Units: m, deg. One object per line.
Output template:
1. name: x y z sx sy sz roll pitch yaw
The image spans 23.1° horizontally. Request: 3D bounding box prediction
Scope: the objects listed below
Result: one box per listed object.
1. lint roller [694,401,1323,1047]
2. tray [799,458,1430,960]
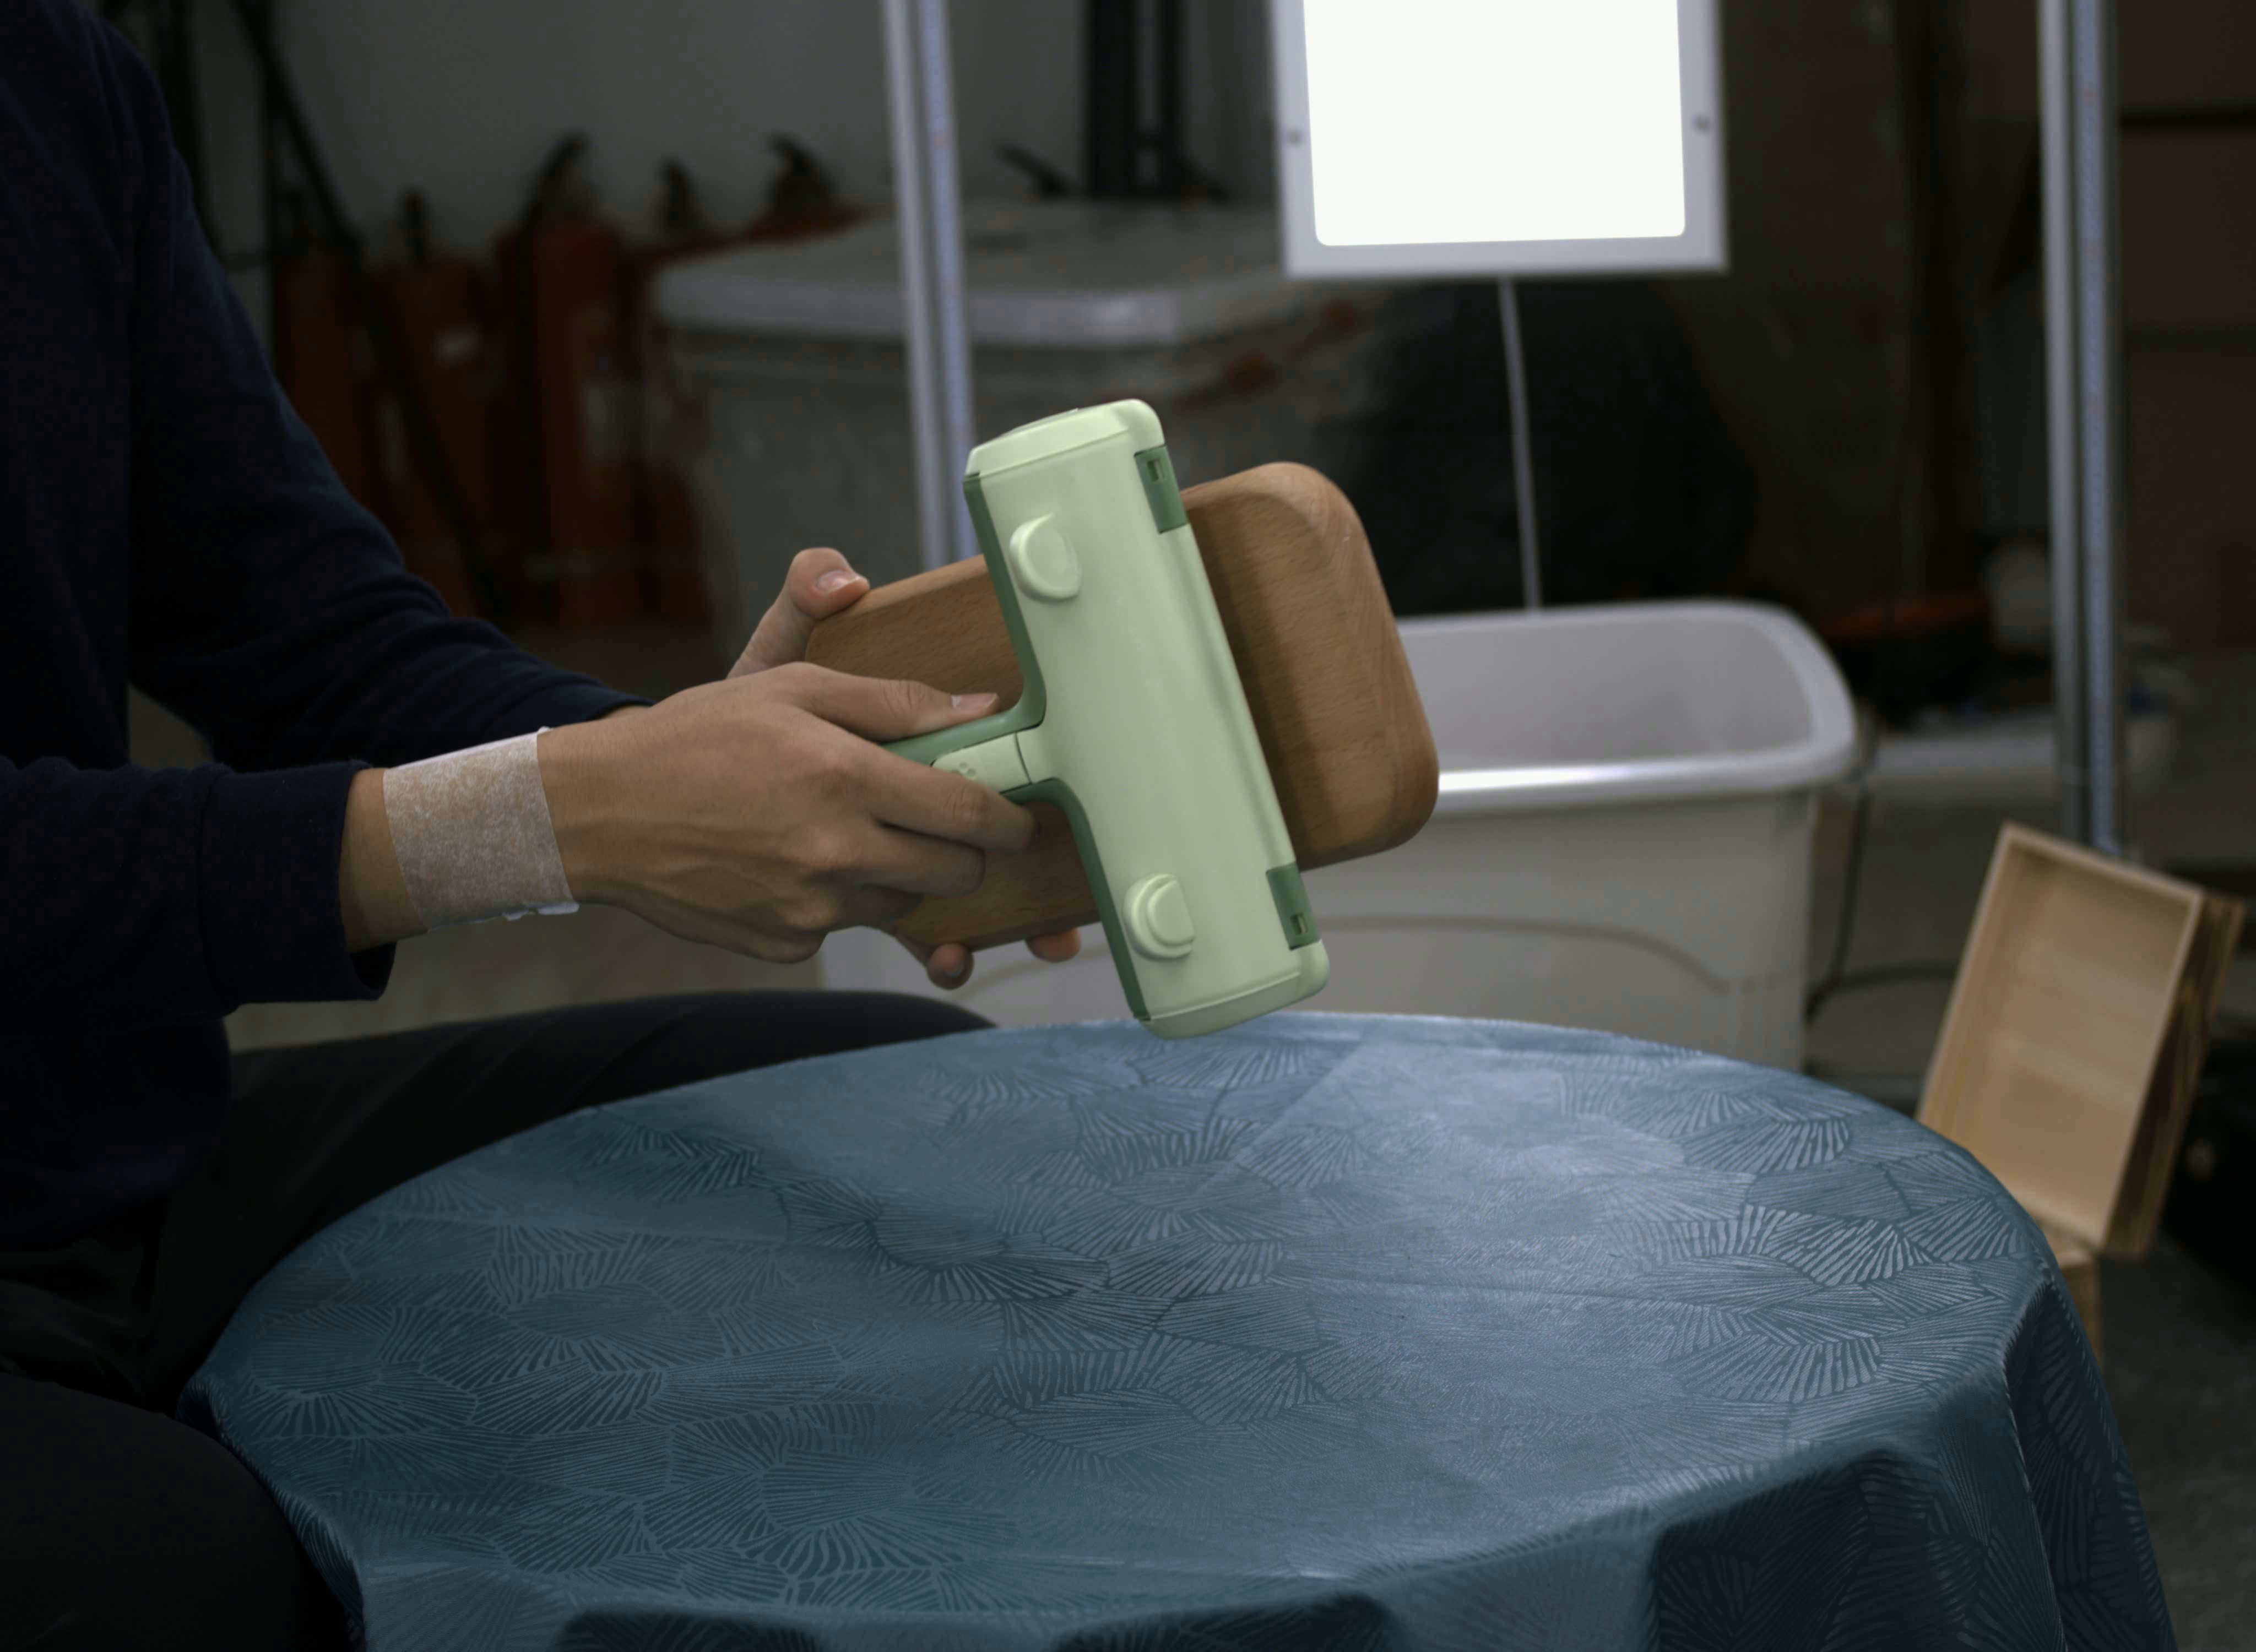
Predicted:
1. lint roller: -0.053 -0.013 1.709 0.184 0.199 0.081 -18 3 8
2. tray: -0.010 -0.034 1.769 0.256 0.131 0.022 -16 2 45
